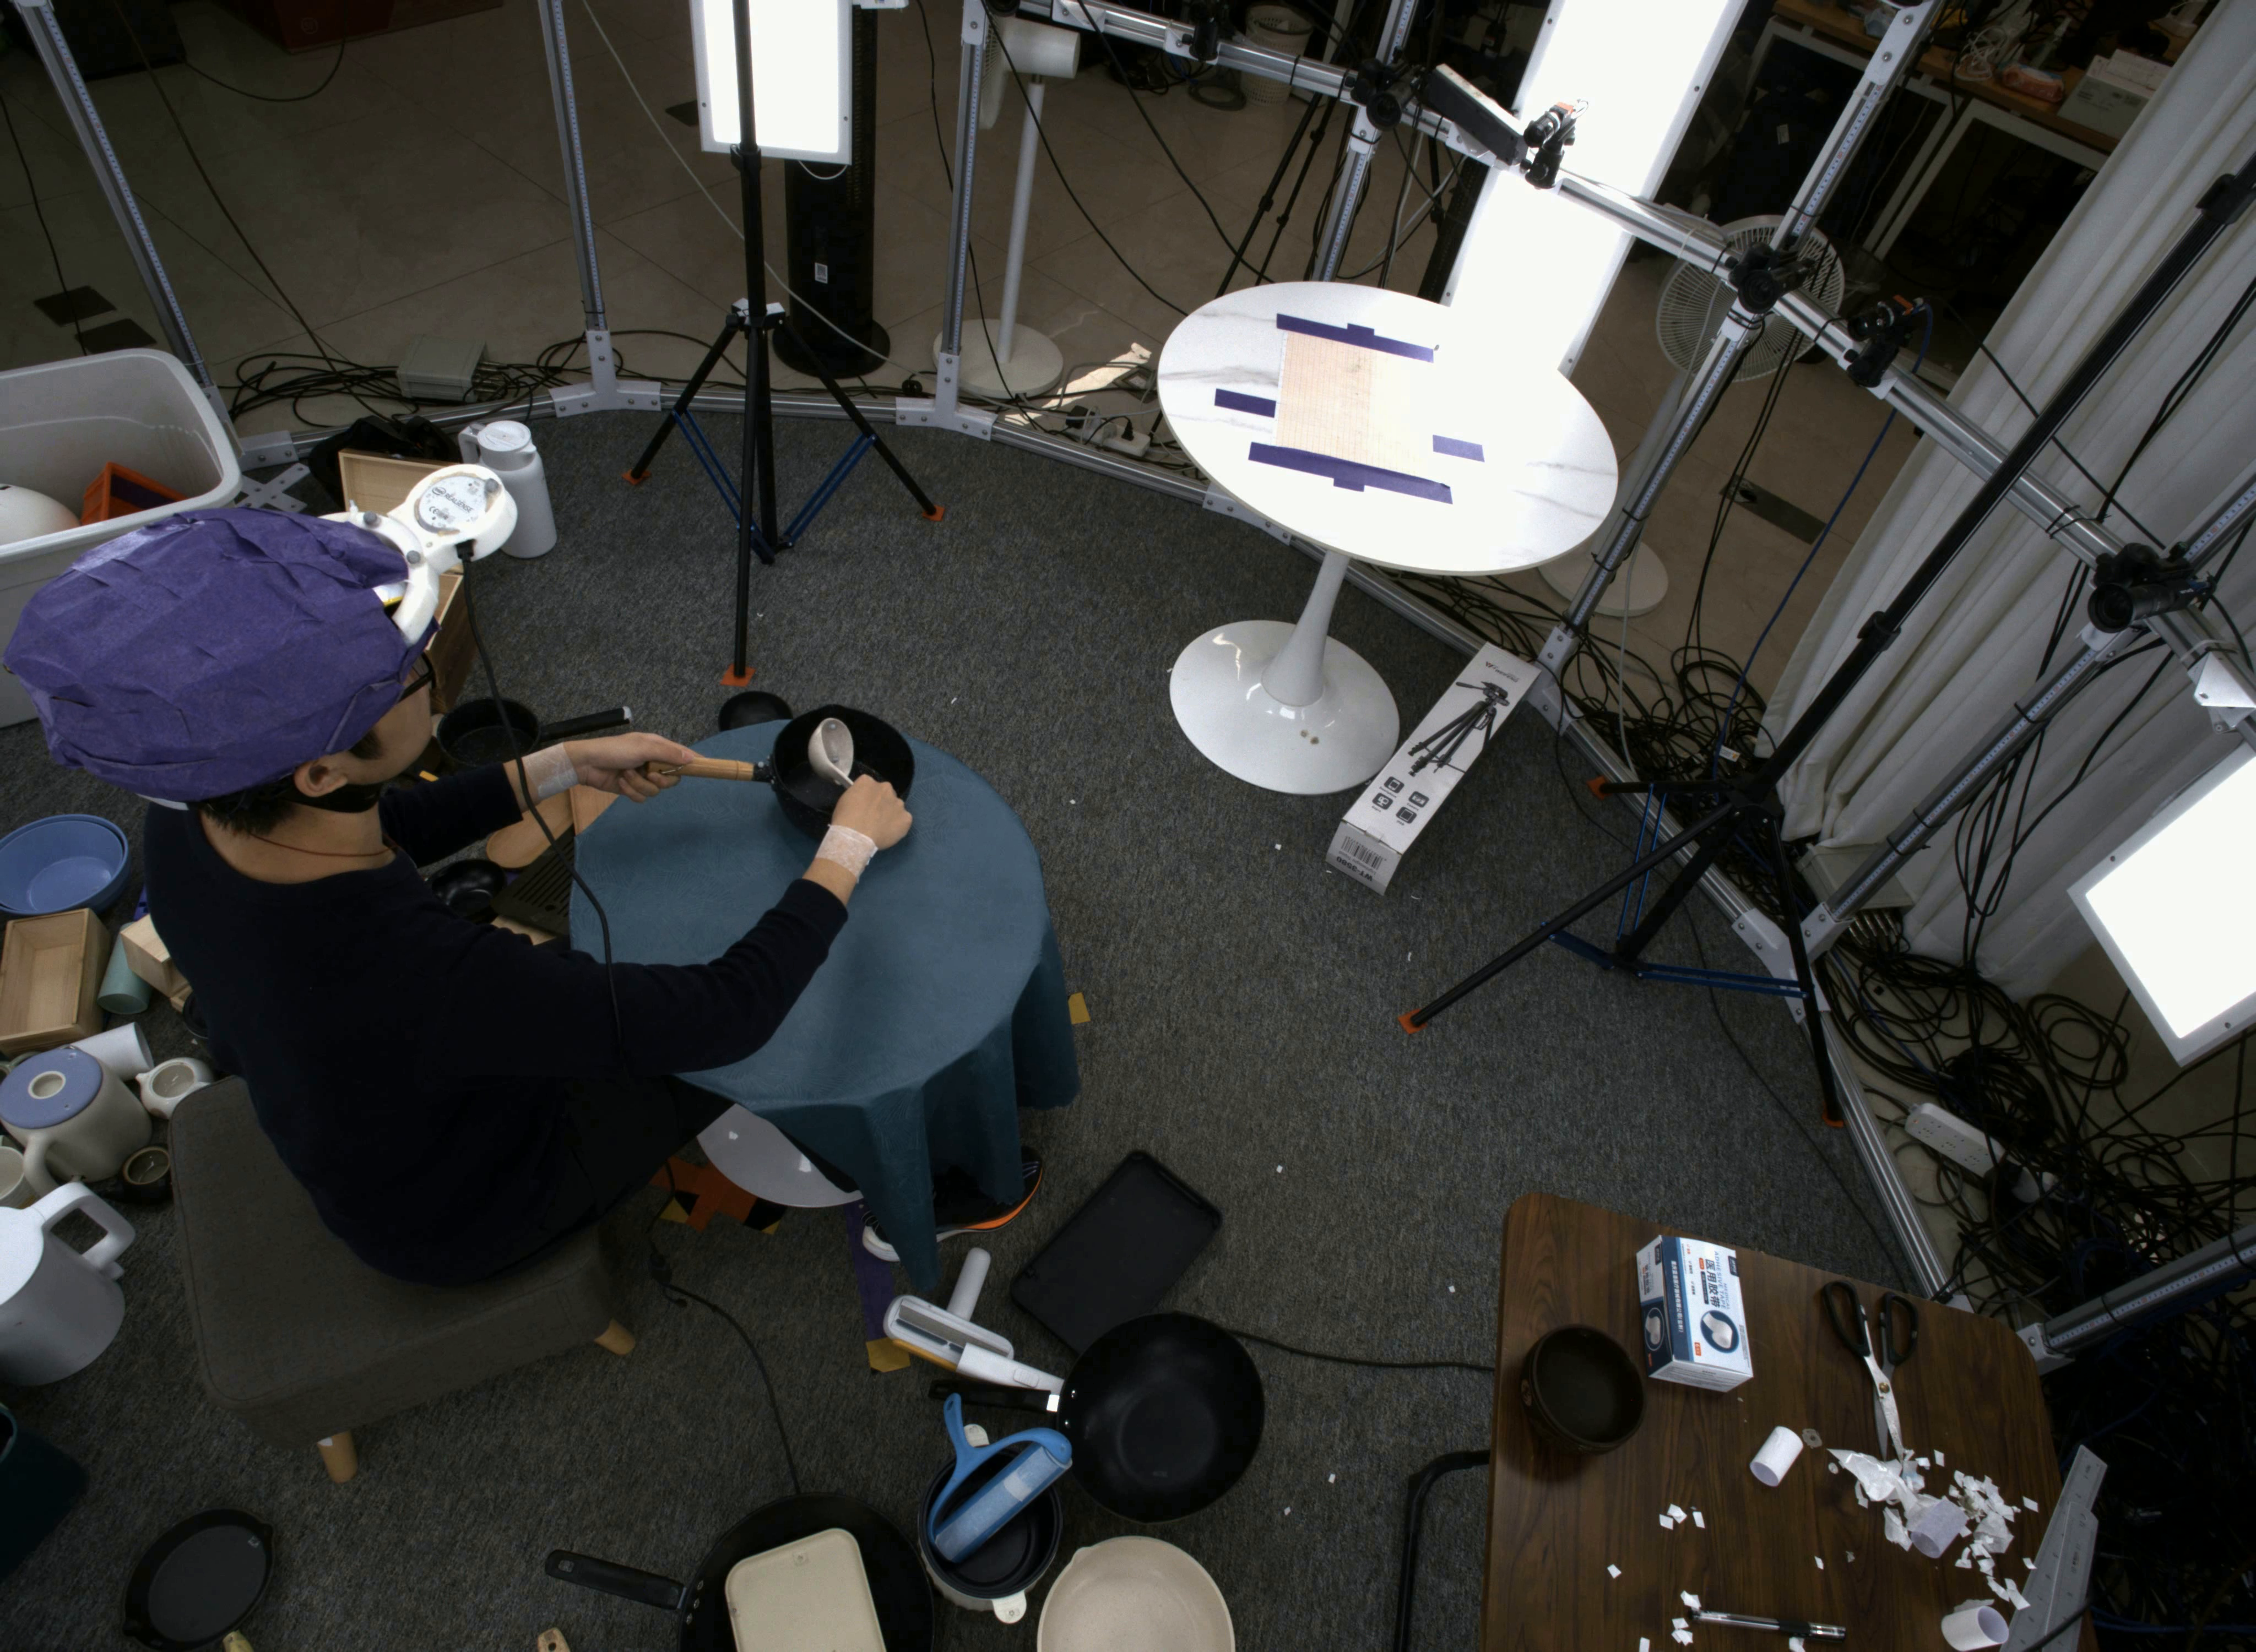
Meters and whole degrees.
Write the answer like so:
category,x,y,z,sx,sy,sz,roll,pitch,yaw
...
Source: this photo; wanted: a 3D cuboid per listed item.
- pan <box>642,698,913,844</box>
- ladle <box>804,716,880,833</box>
category,x,y,z,sx,sy,sz,roll,pitch,yaw
pan,-0.450,-0.063,1.665,0.346,0.109,0.203,-4,57,-27
ladle,-0.330,-0.058,1.599,0.070,0.092,0.264,-22,33,-26
